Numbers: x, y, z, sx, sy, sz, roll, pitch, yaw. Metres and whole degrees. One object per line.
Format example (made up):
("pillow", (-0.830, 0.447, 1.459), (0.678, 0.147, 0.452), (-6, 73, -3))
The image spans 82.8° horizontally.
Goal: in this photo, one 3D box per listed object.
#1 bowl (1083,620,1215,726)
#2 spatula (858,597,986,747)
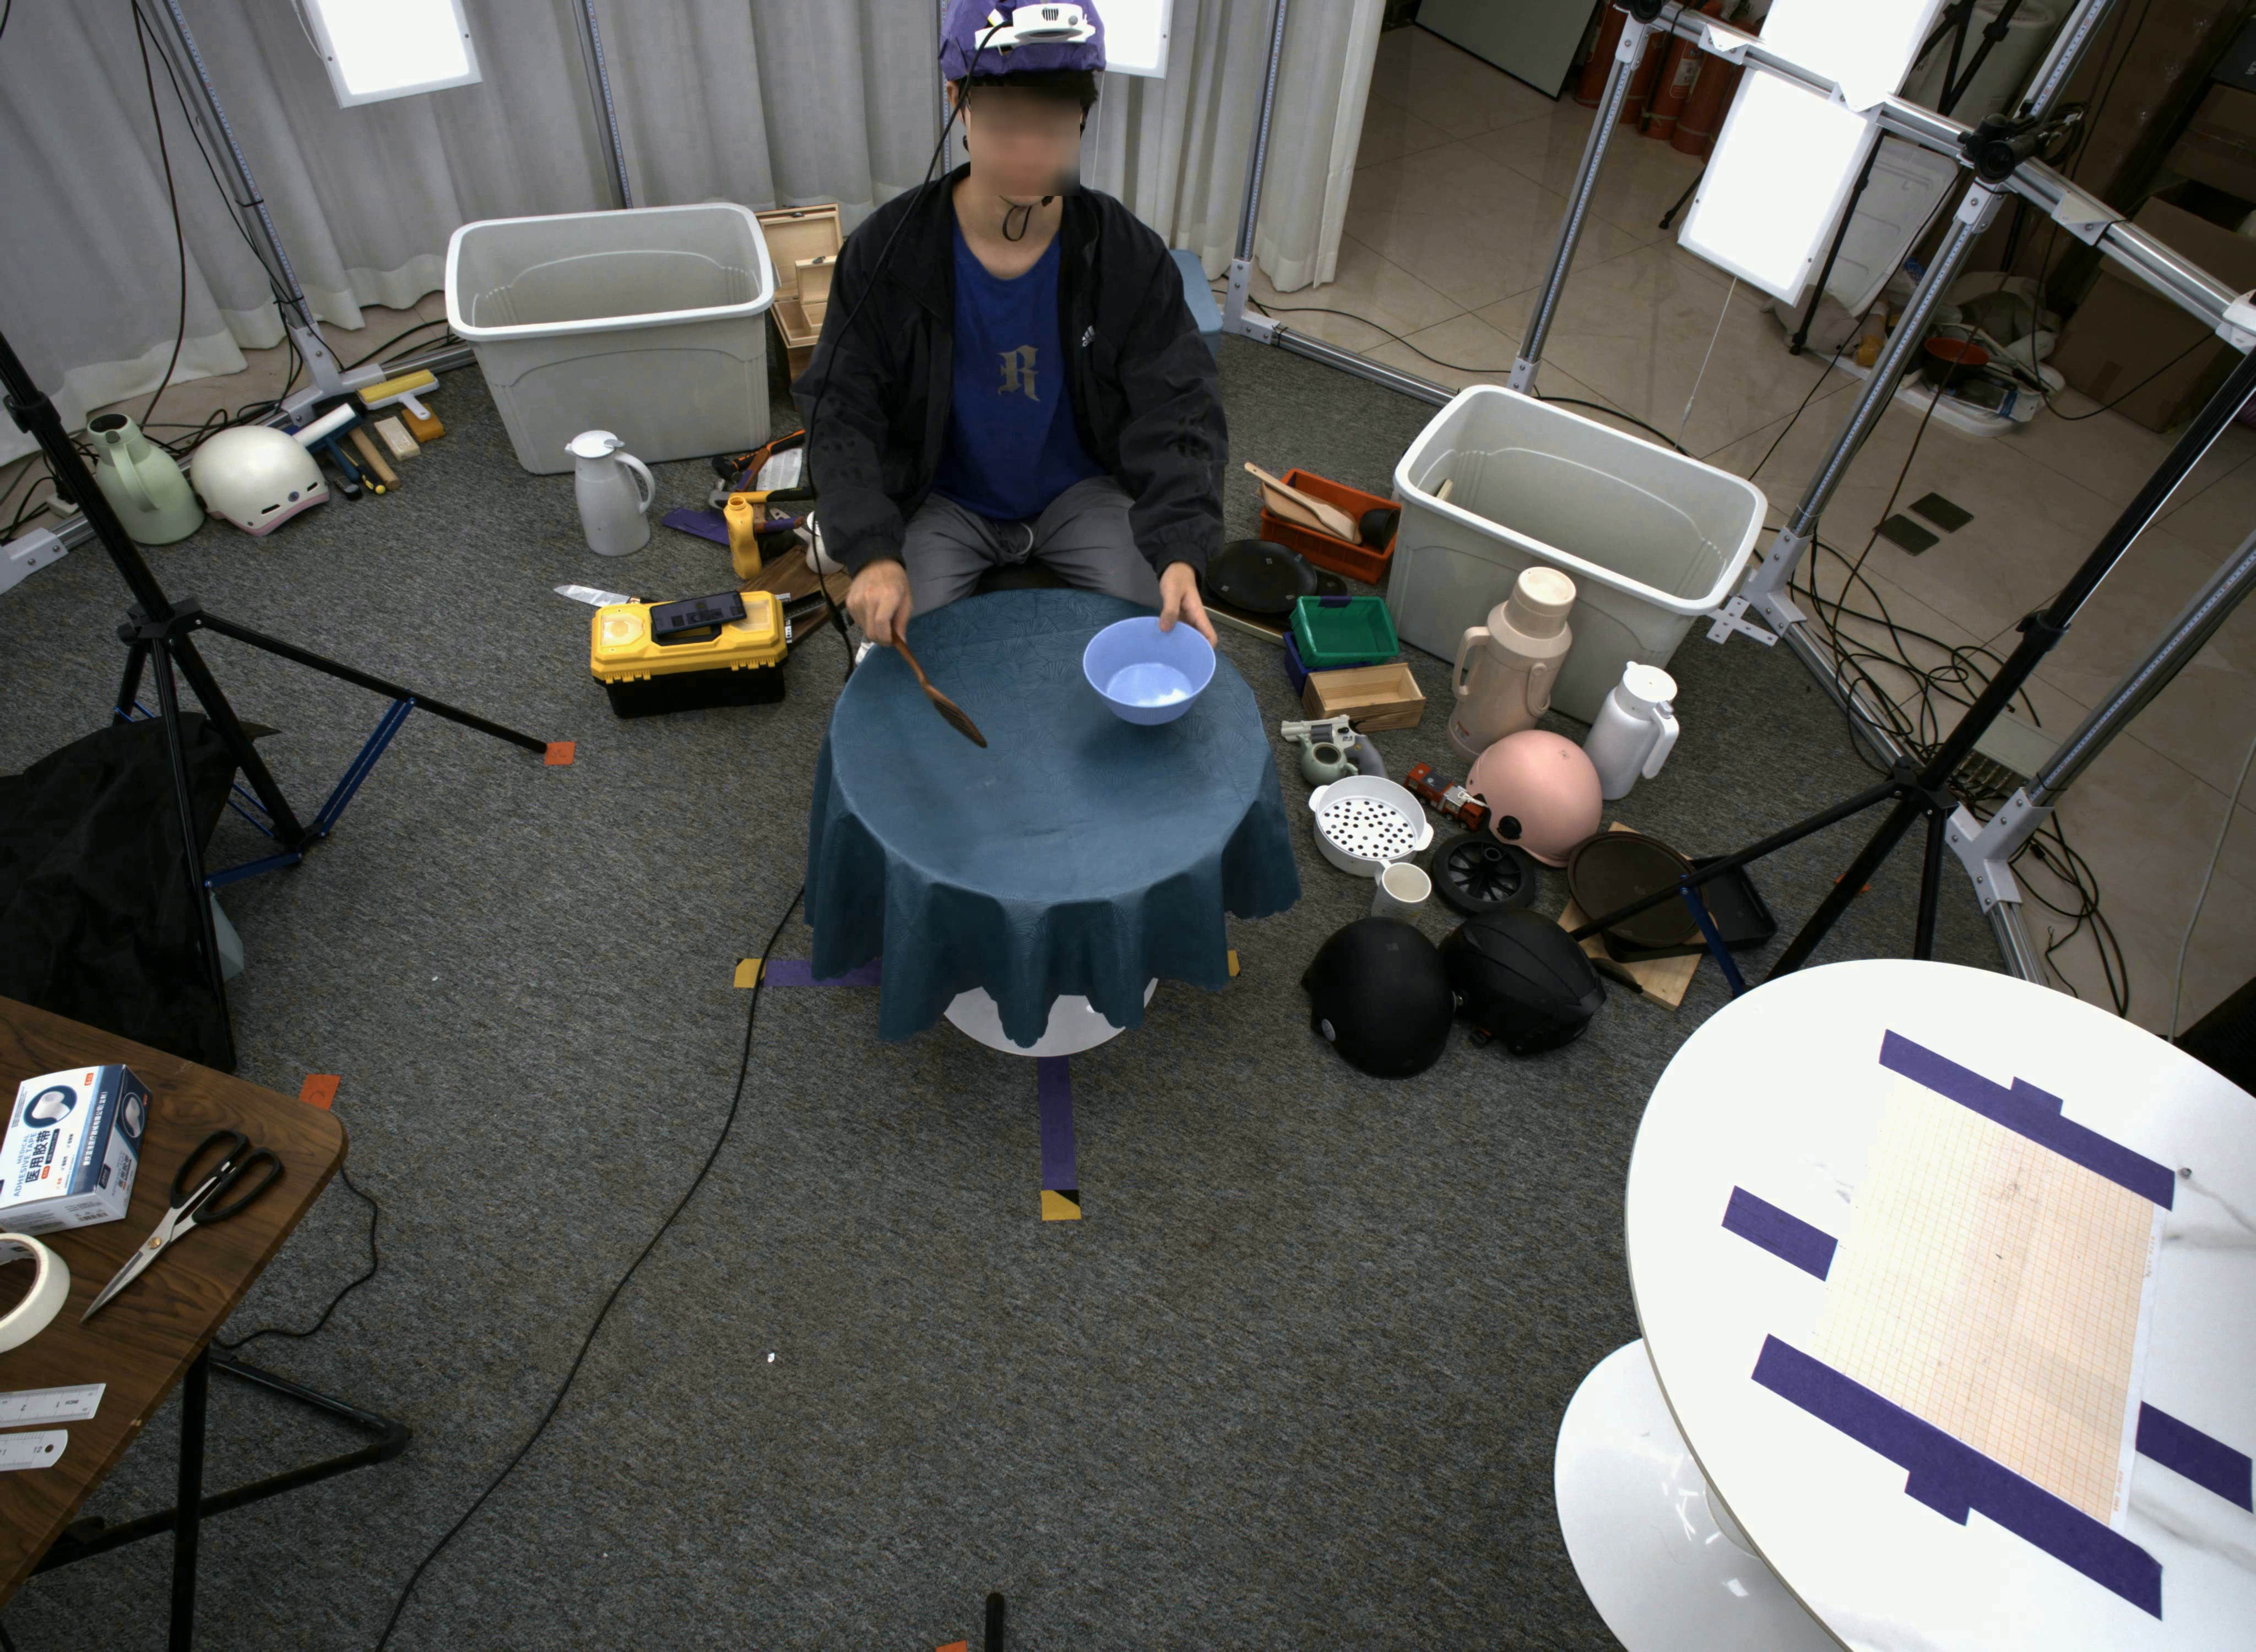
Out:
("bowl", (0.028, -0.198, 1.735), (0.176, 0.068, 0.180), (0, 47, 0))
("spatula", (-0.287, -0.217, 1.711), (0.024, 0.083, 0.395), (-37, 45, -4))
